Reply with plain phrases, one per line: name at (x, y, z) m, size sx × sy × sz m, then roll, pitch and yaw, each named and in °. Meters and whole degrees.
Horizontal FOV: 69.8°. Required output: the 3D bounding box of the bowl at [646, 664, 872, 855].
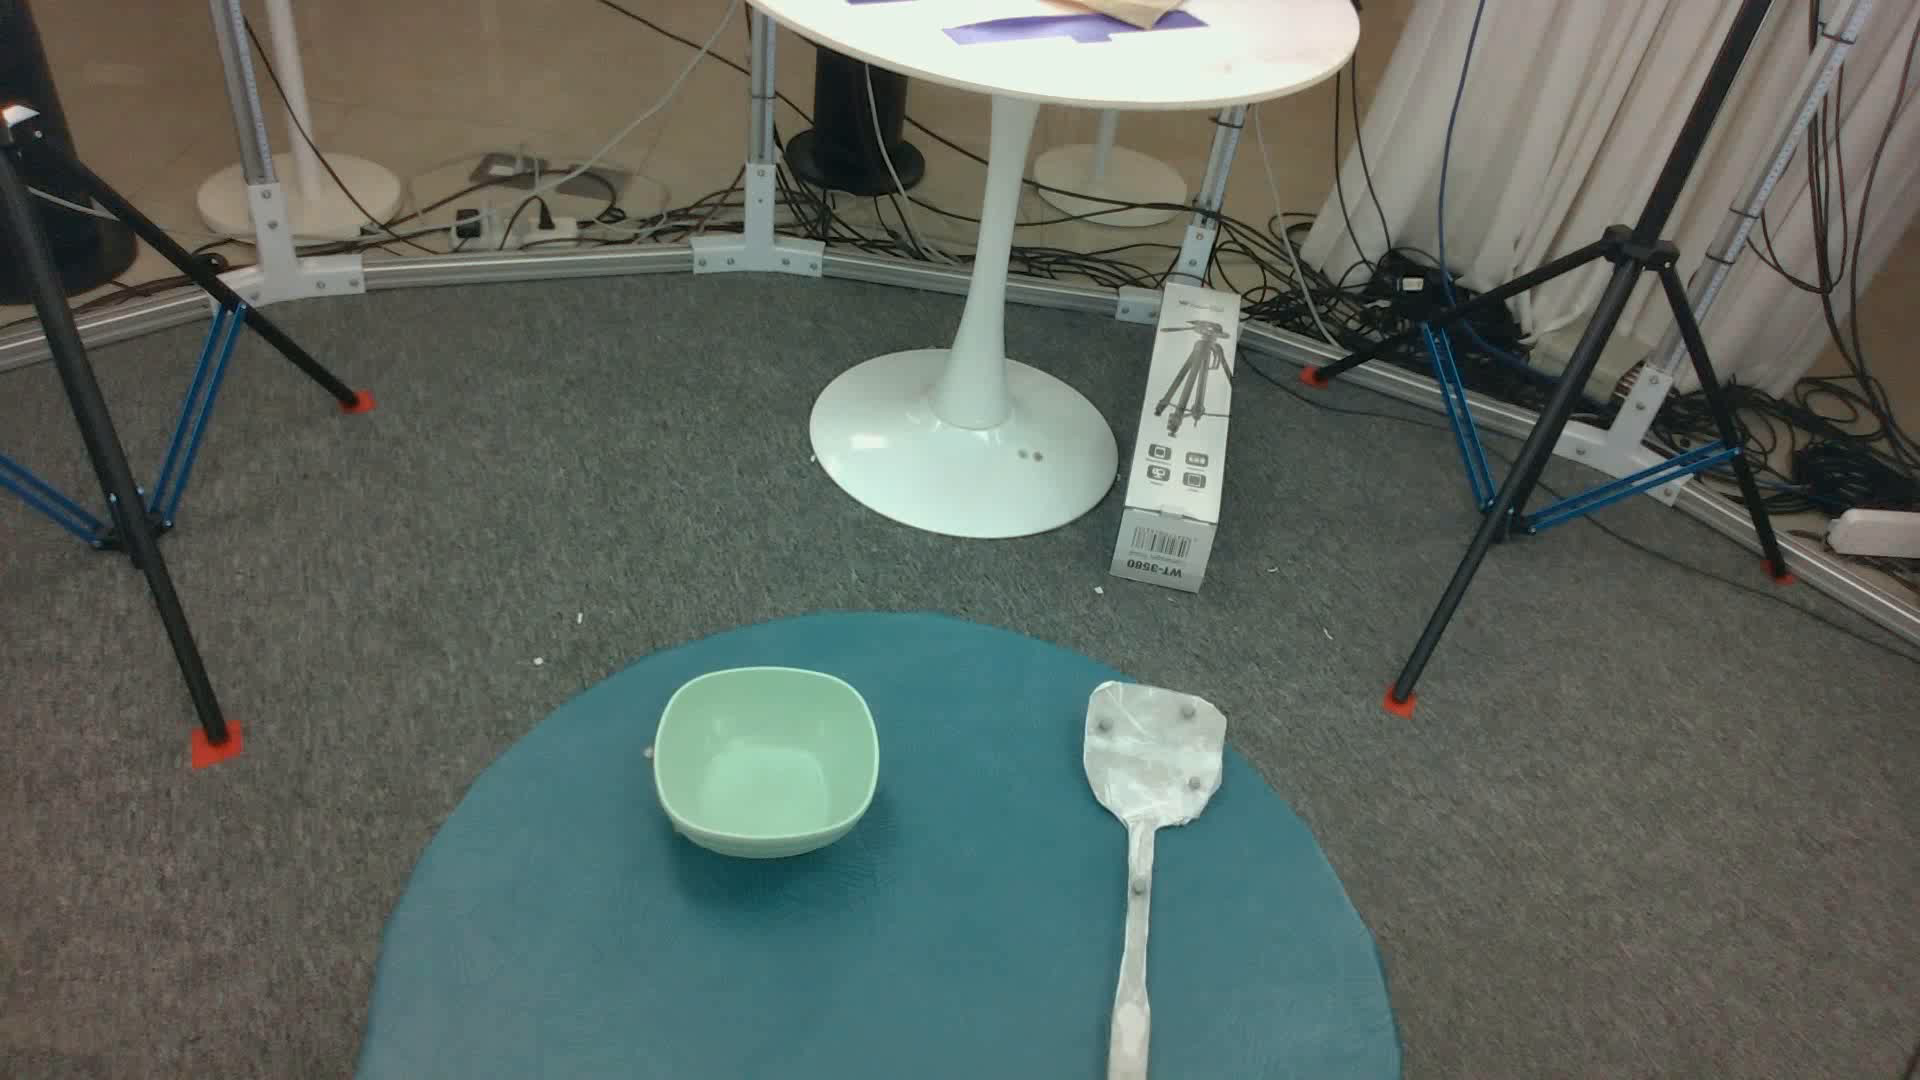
bowl at (-0.127, 0.148, 0.876) m, size 0.151 × 0.058 × 0.152 m, roll 4°, pitch 40°, yaw -3°

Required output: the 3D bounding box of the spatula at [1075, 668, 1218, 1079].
spatula at (0.102, 0.224, 0.847) m, size 0.099 × 0.044 × 0.367 m, roll 14°, pitch 40°, yaw 1°
